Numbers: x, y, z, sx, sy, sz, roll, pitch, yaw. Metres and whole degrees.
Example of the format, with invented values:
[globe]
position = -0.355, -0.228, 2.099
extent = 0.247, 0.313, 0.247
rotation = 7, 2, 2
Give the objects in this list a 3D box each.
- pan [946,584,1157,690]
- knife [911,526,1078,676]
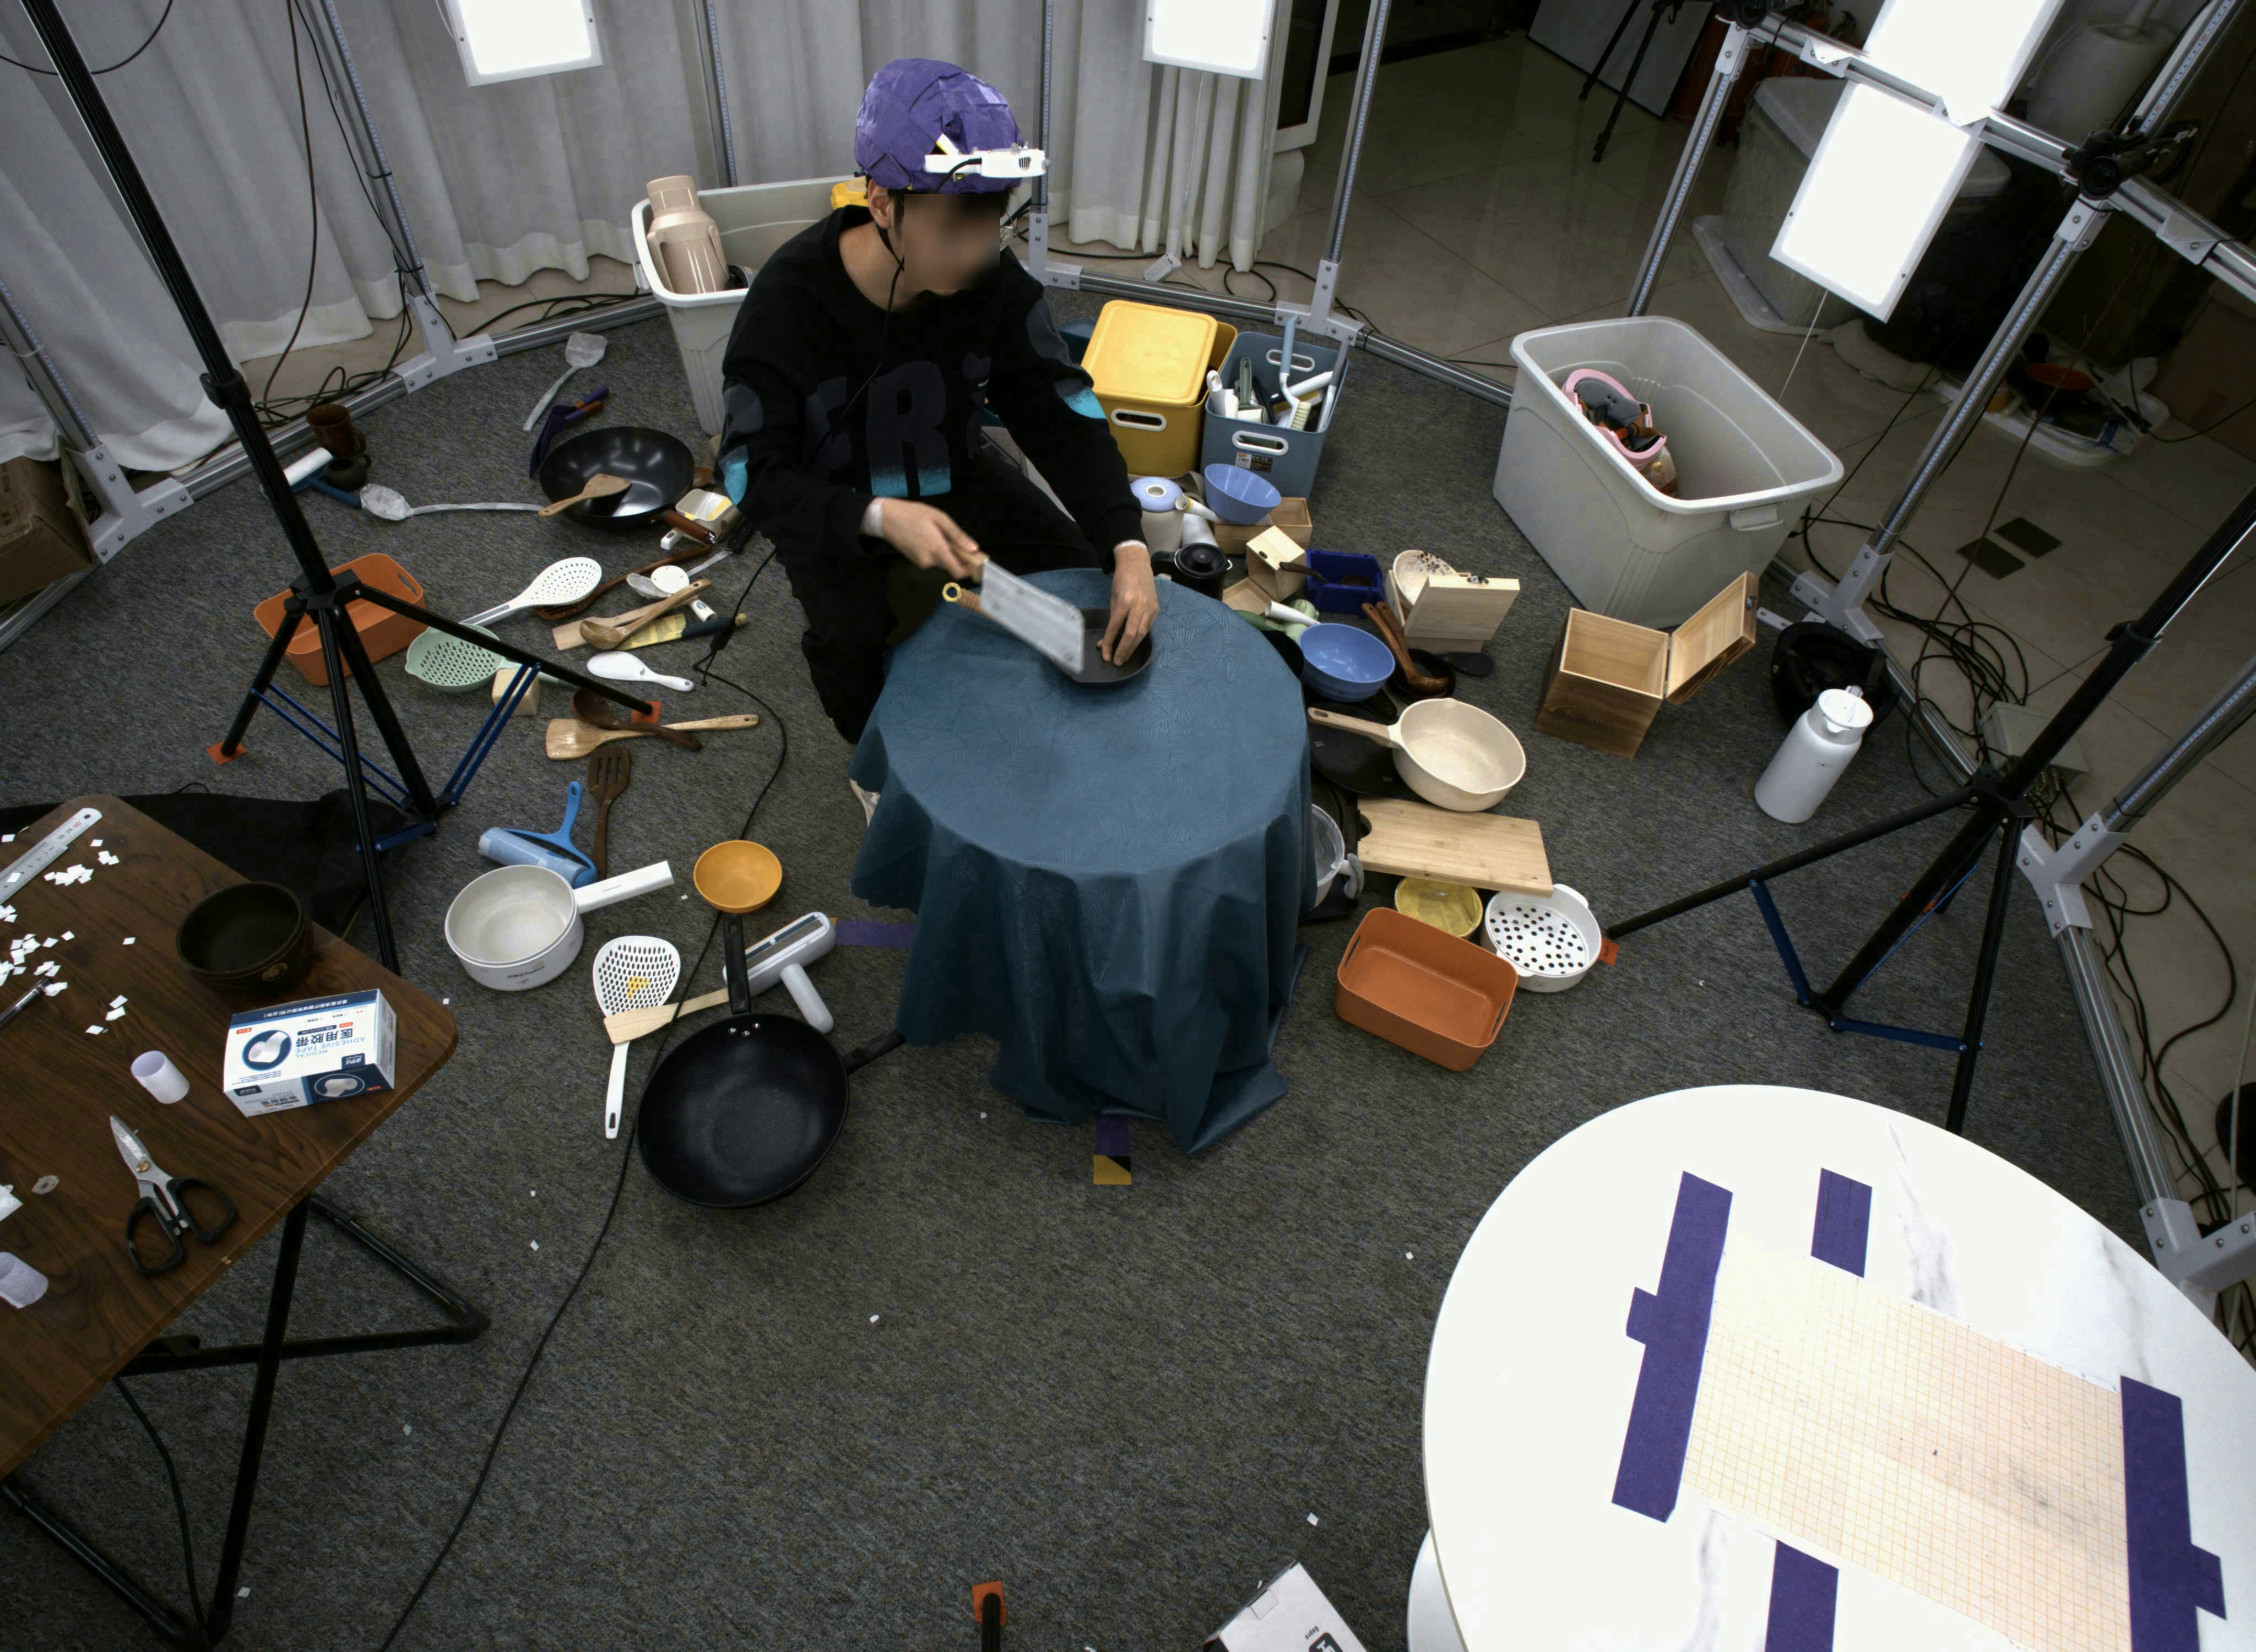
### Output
[pan]
position = -0.115, -0.285, 1.876
extent = 0.325, 0.048, 0.172
rotation = 20, 51, 11
[knife]
position = -0.177, -0.314, 1.732
extent = 0.319, 0.111, 0.022
rotation = 38, 53, 22
